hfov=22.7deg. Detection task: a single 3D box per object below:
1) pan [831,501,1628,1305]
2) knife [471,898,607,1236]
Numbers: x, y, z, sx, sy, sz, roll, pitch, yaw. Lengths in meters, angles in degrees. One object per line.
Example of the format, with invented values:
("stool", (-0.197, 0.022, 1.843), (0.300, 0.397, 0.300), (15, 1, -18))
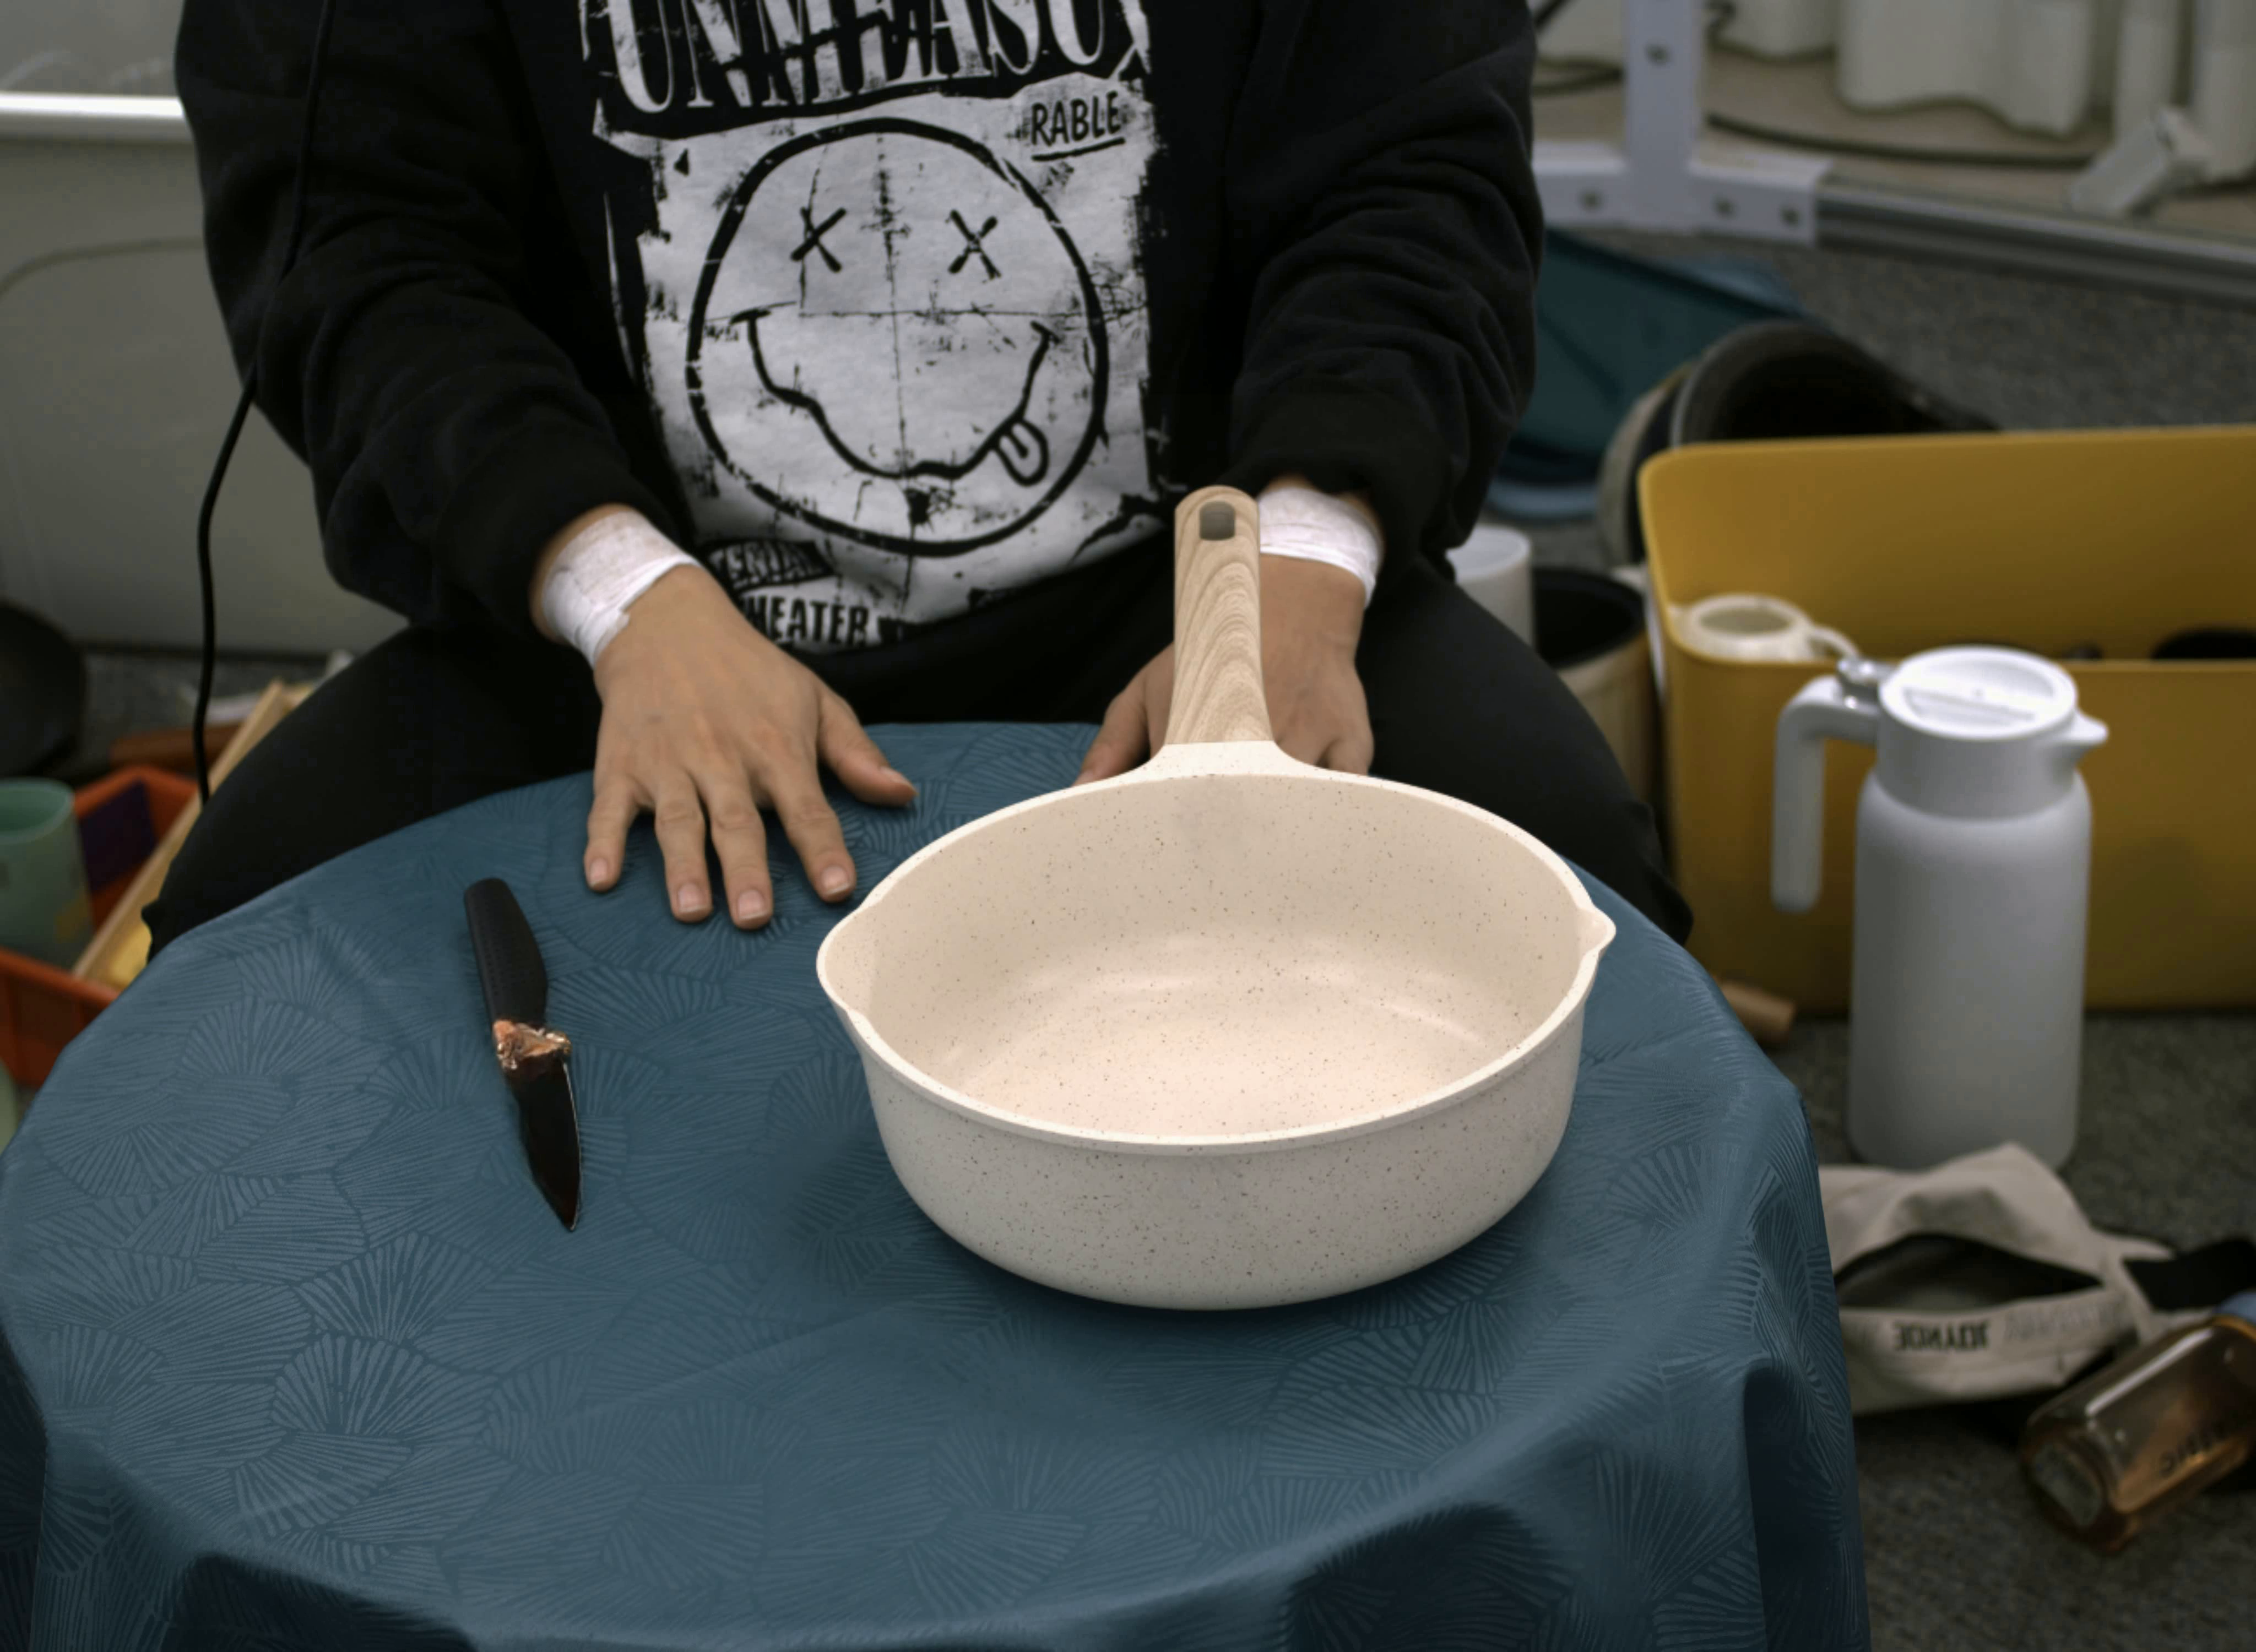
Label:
("pan", (0.036, 0.023, 1.939), (0.262, 0.101, 0.441), (-4, 27, 2))
("knife", (-0.205, 0.082, 1.946), (0.026, 0.017, 0.228), (6, 25, -17))
